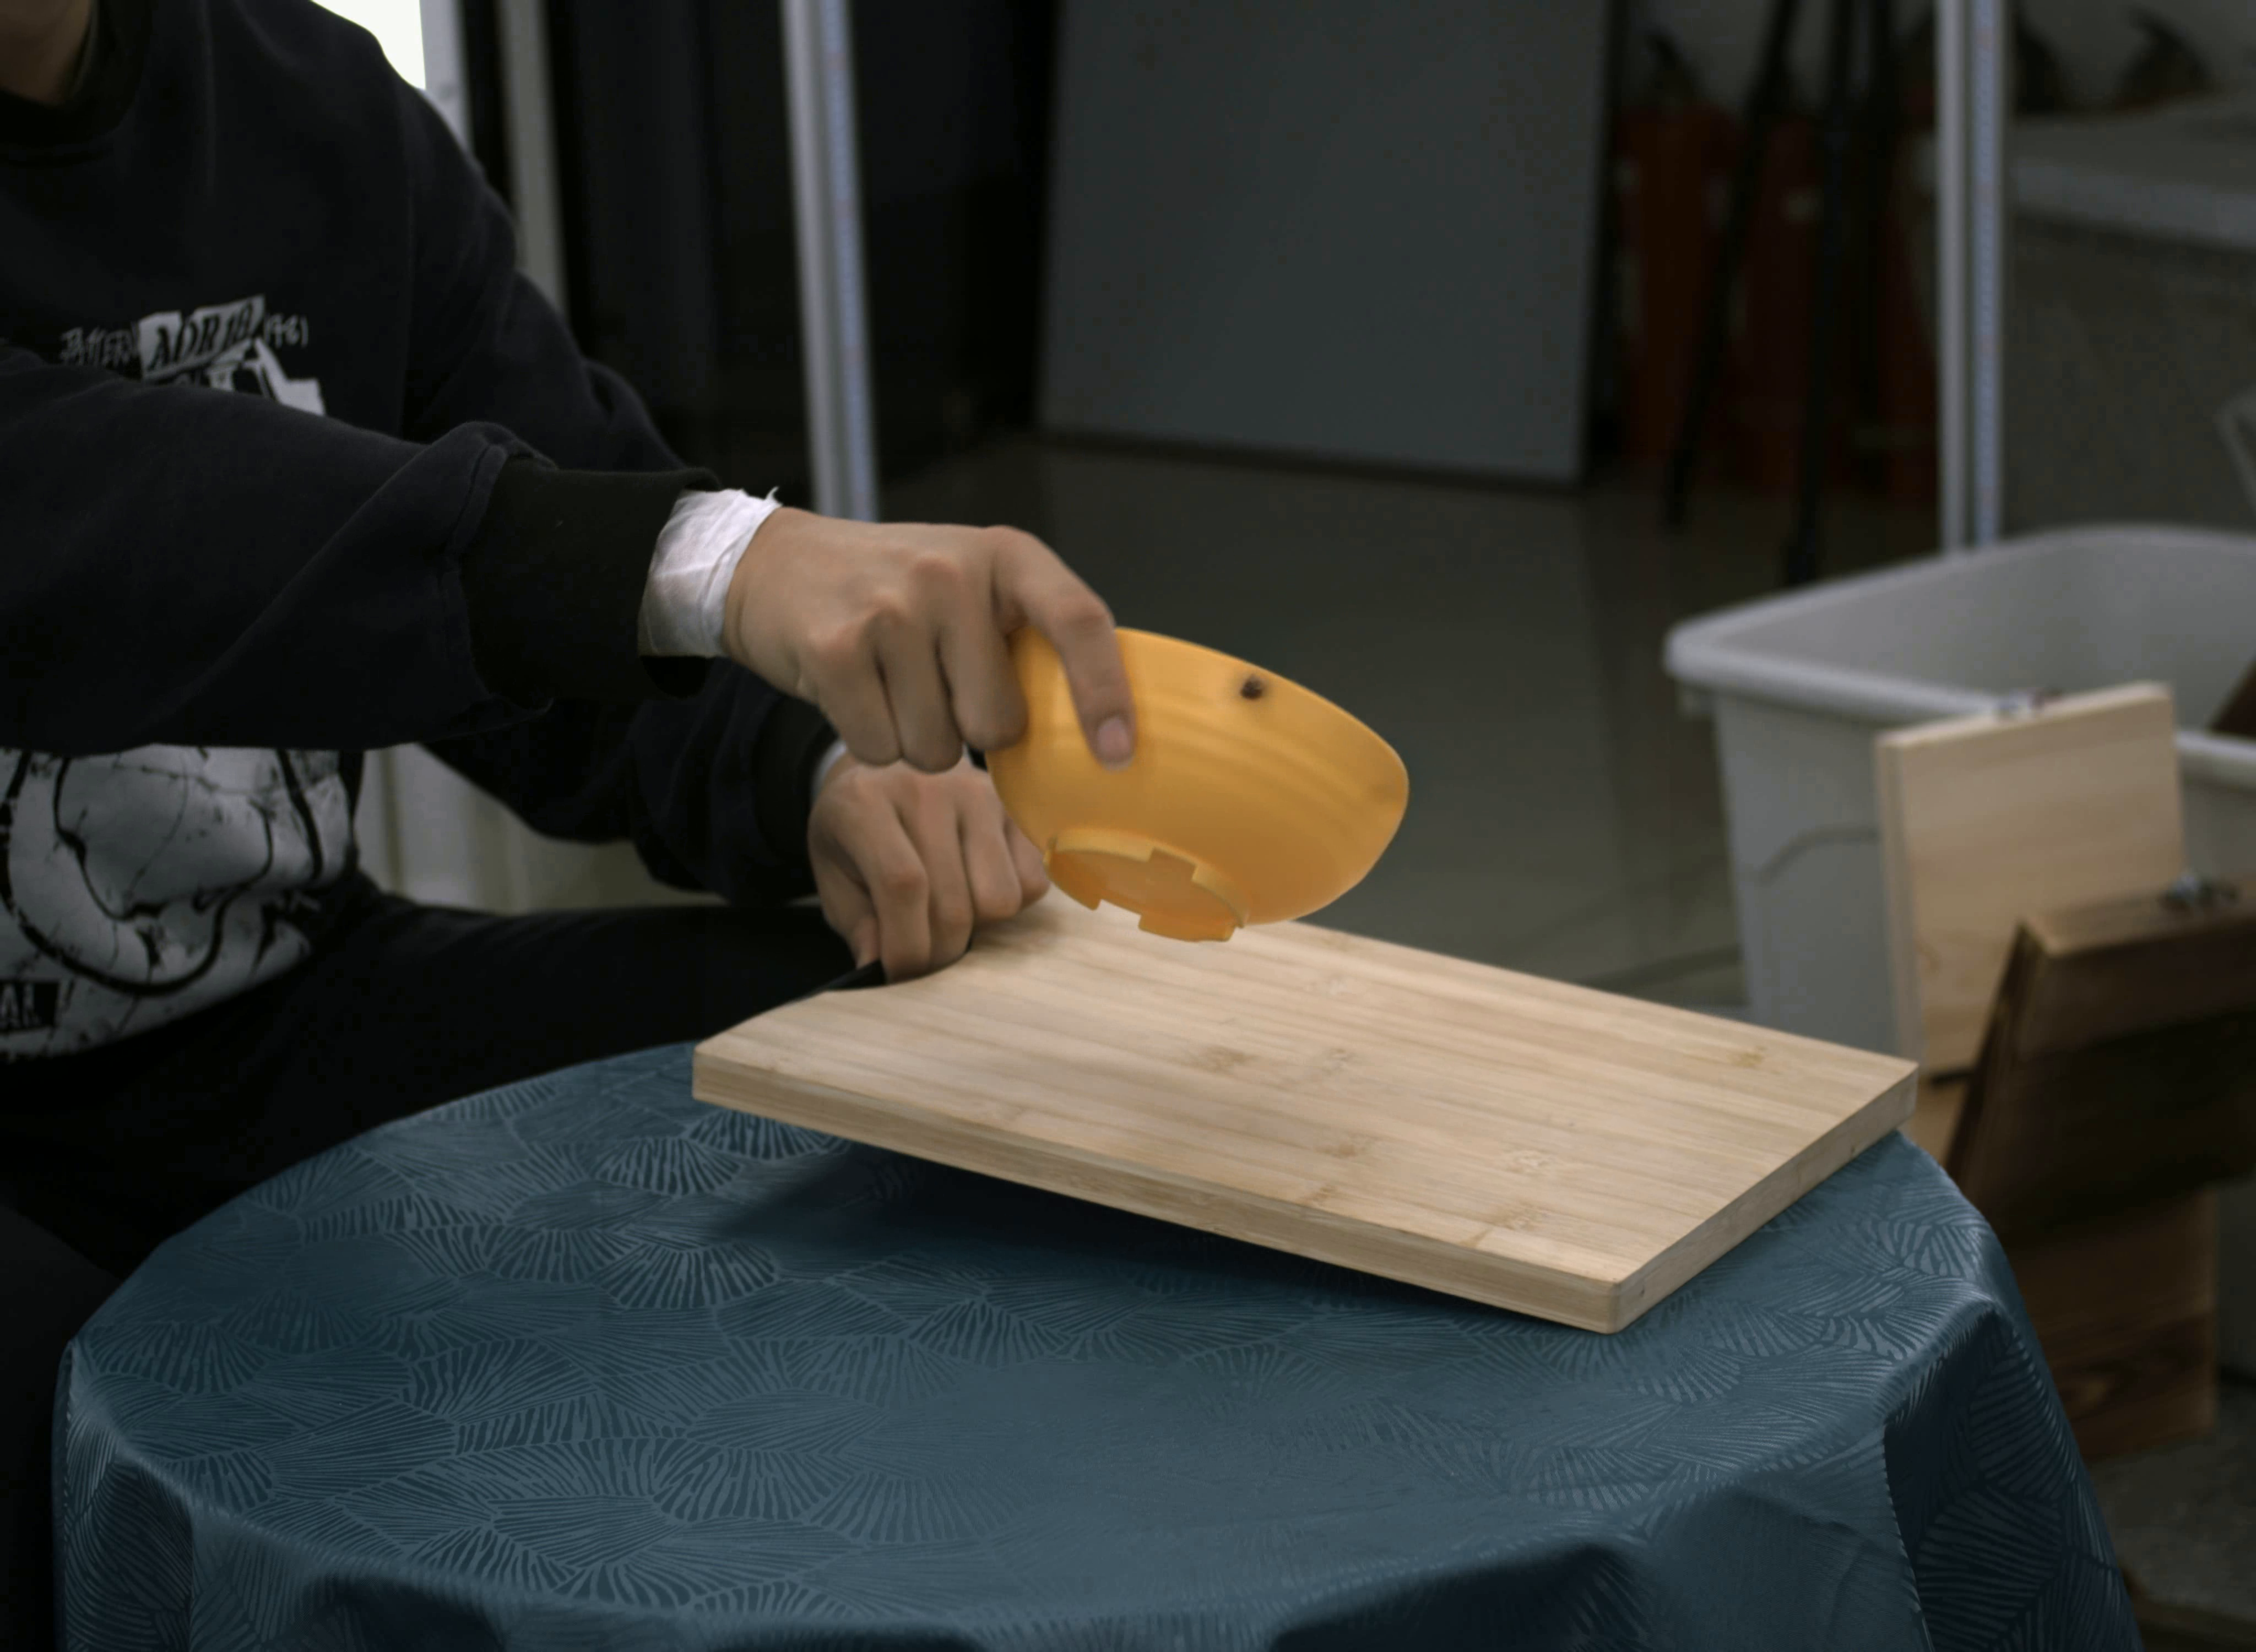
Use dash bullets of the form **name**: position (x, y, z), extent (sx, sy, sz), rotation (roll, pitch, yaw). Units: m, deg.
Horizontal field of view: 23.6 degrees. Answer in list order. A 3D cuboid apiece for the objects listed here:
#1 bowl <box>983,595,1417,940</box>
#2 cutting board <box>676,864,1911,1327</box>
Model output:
- **bowl**: position (0.014, -0.007, 1.671), extent (0.144, 0.060, 0.145), rotation (18, -24, 7)
- **cutting board**: position (0.056, 0.083, 1.787), extent (0.350, 0.024, 0.247), rotation (12, 20, 28)
